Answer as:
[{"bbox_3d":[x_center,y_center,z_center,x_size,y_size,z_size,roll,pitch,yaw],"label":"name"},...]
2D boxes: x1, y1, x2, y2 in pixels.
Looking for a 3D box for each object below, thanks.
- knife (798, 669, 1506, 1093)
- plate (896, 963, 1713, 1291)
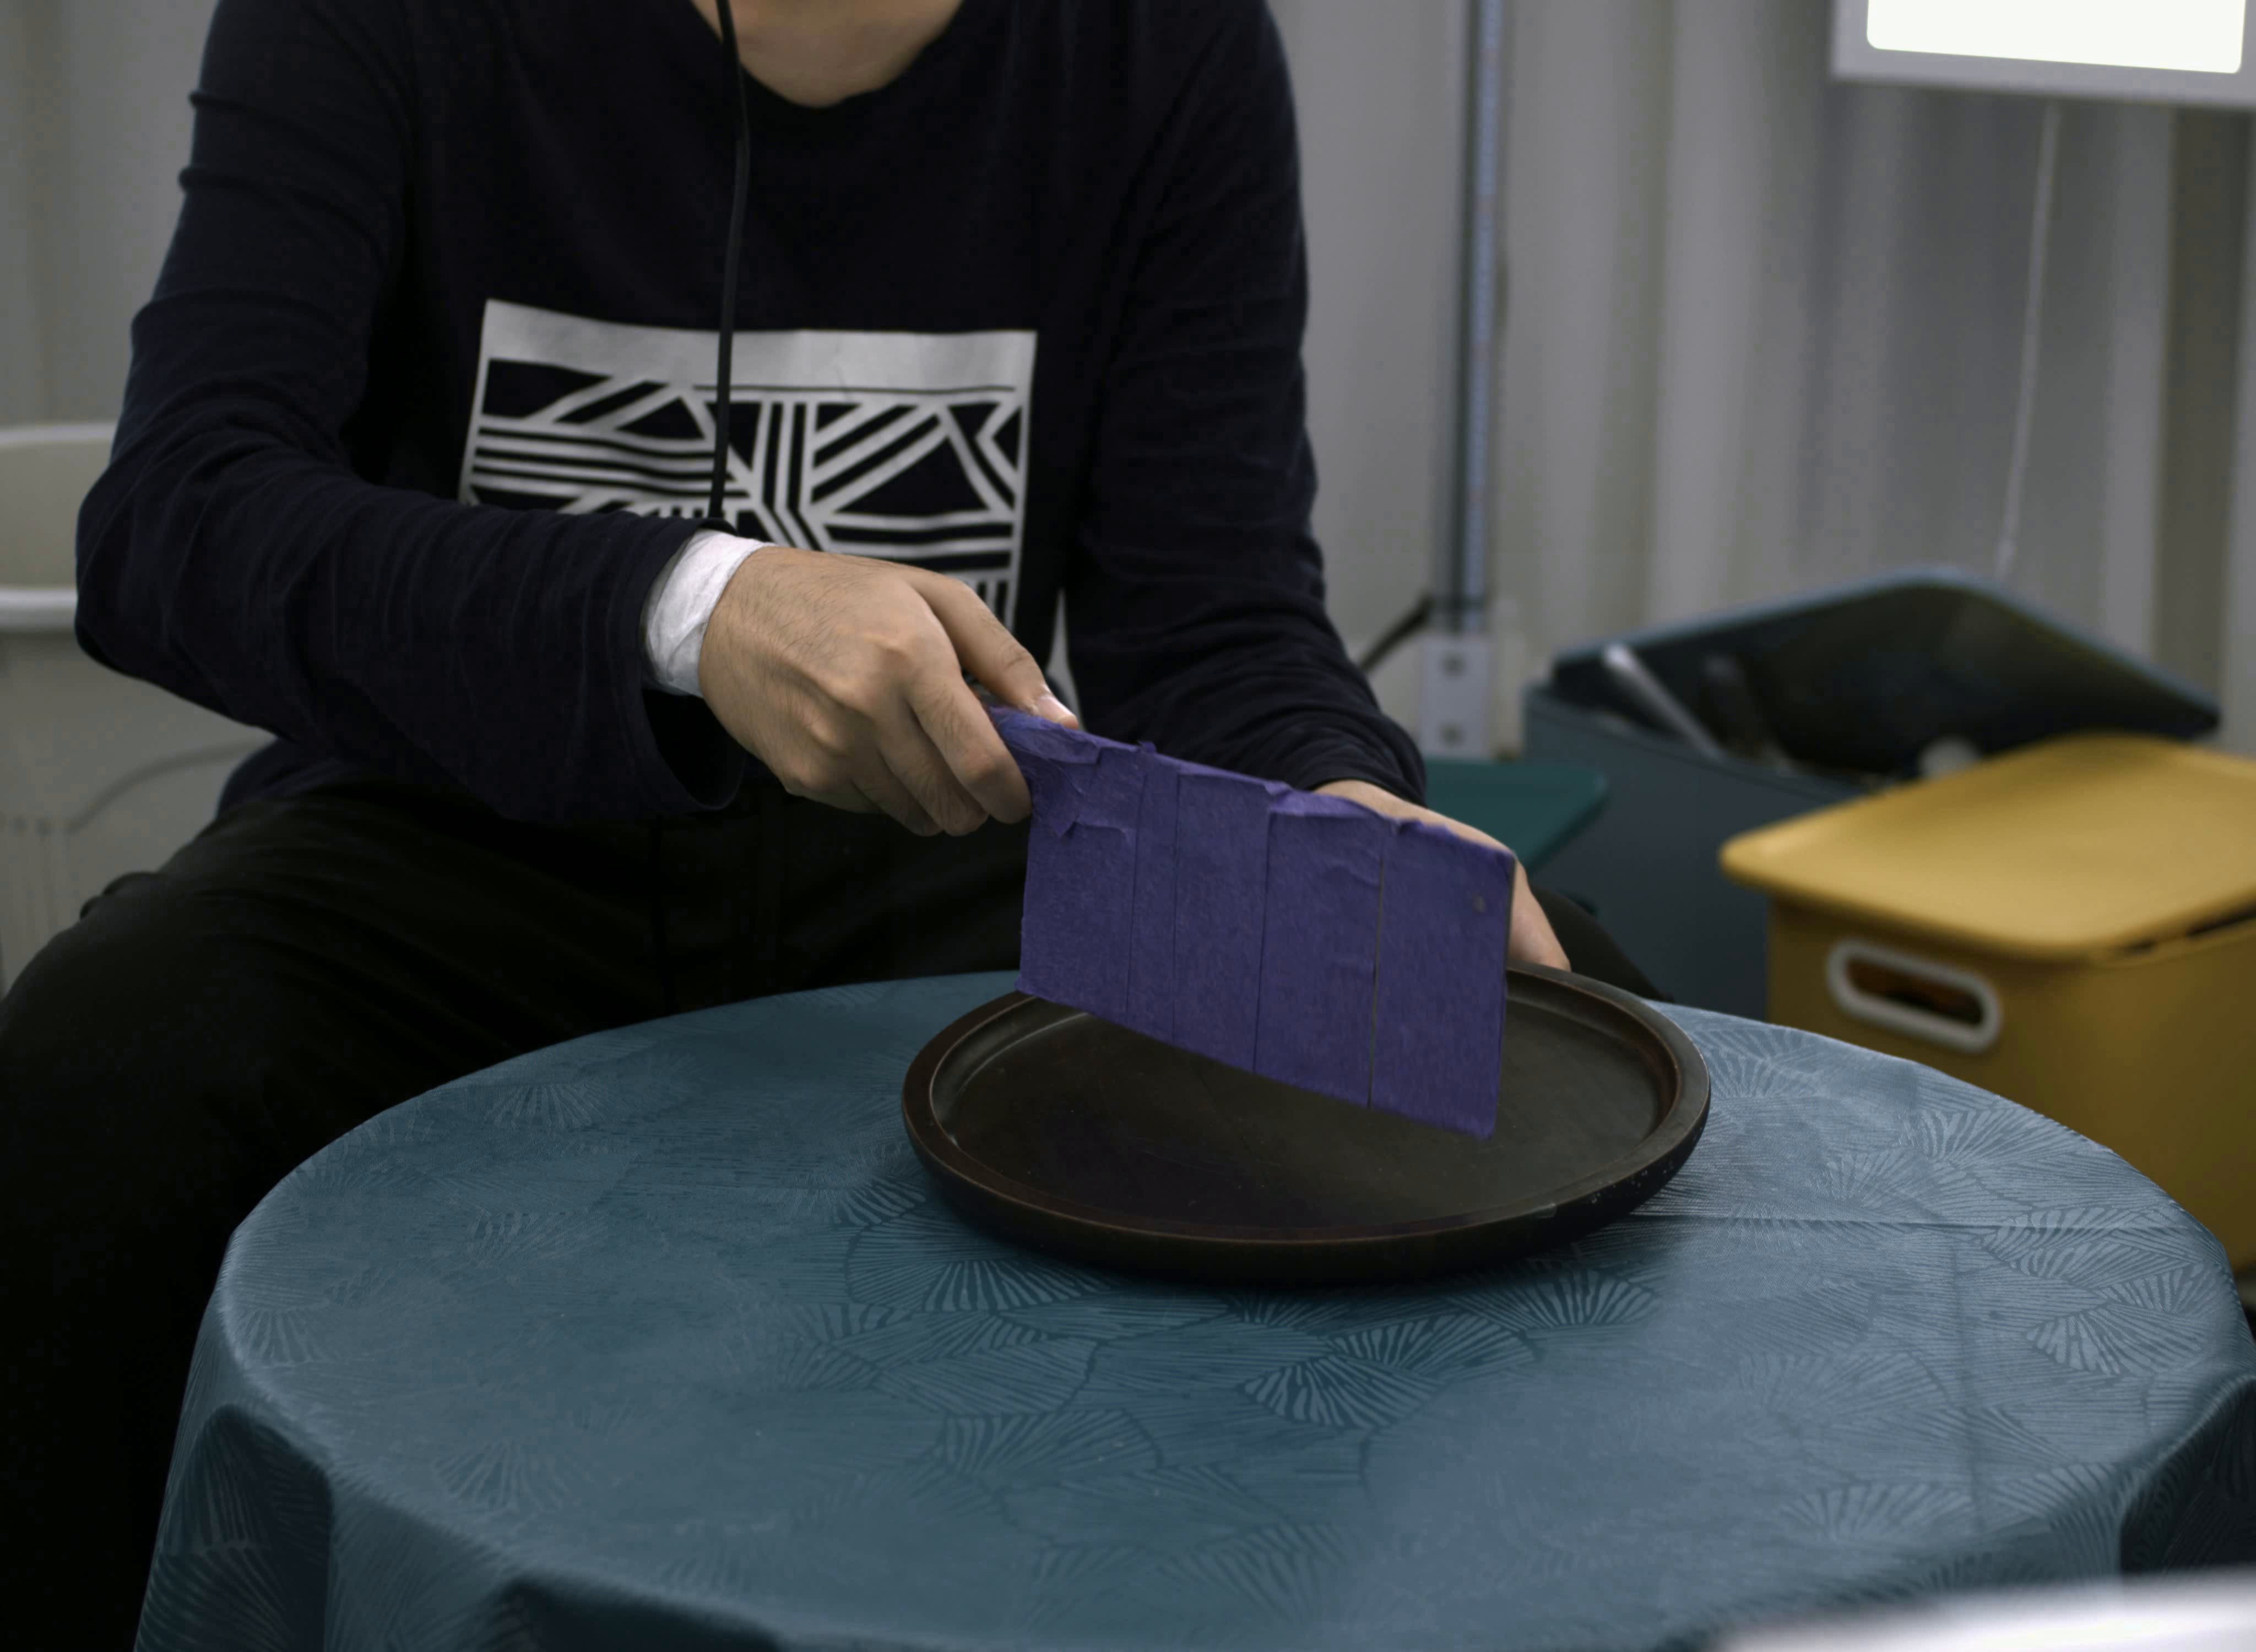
[{"bbox_3d":[0.001,0.017,1.647,0.032,0.104,0.311,-6,14,-41],"label":"knife"},{"bbox_3d":[0.055,0.088,1.641,0.254,0.029,0.253,0,20,1],"label":"plate"}]
